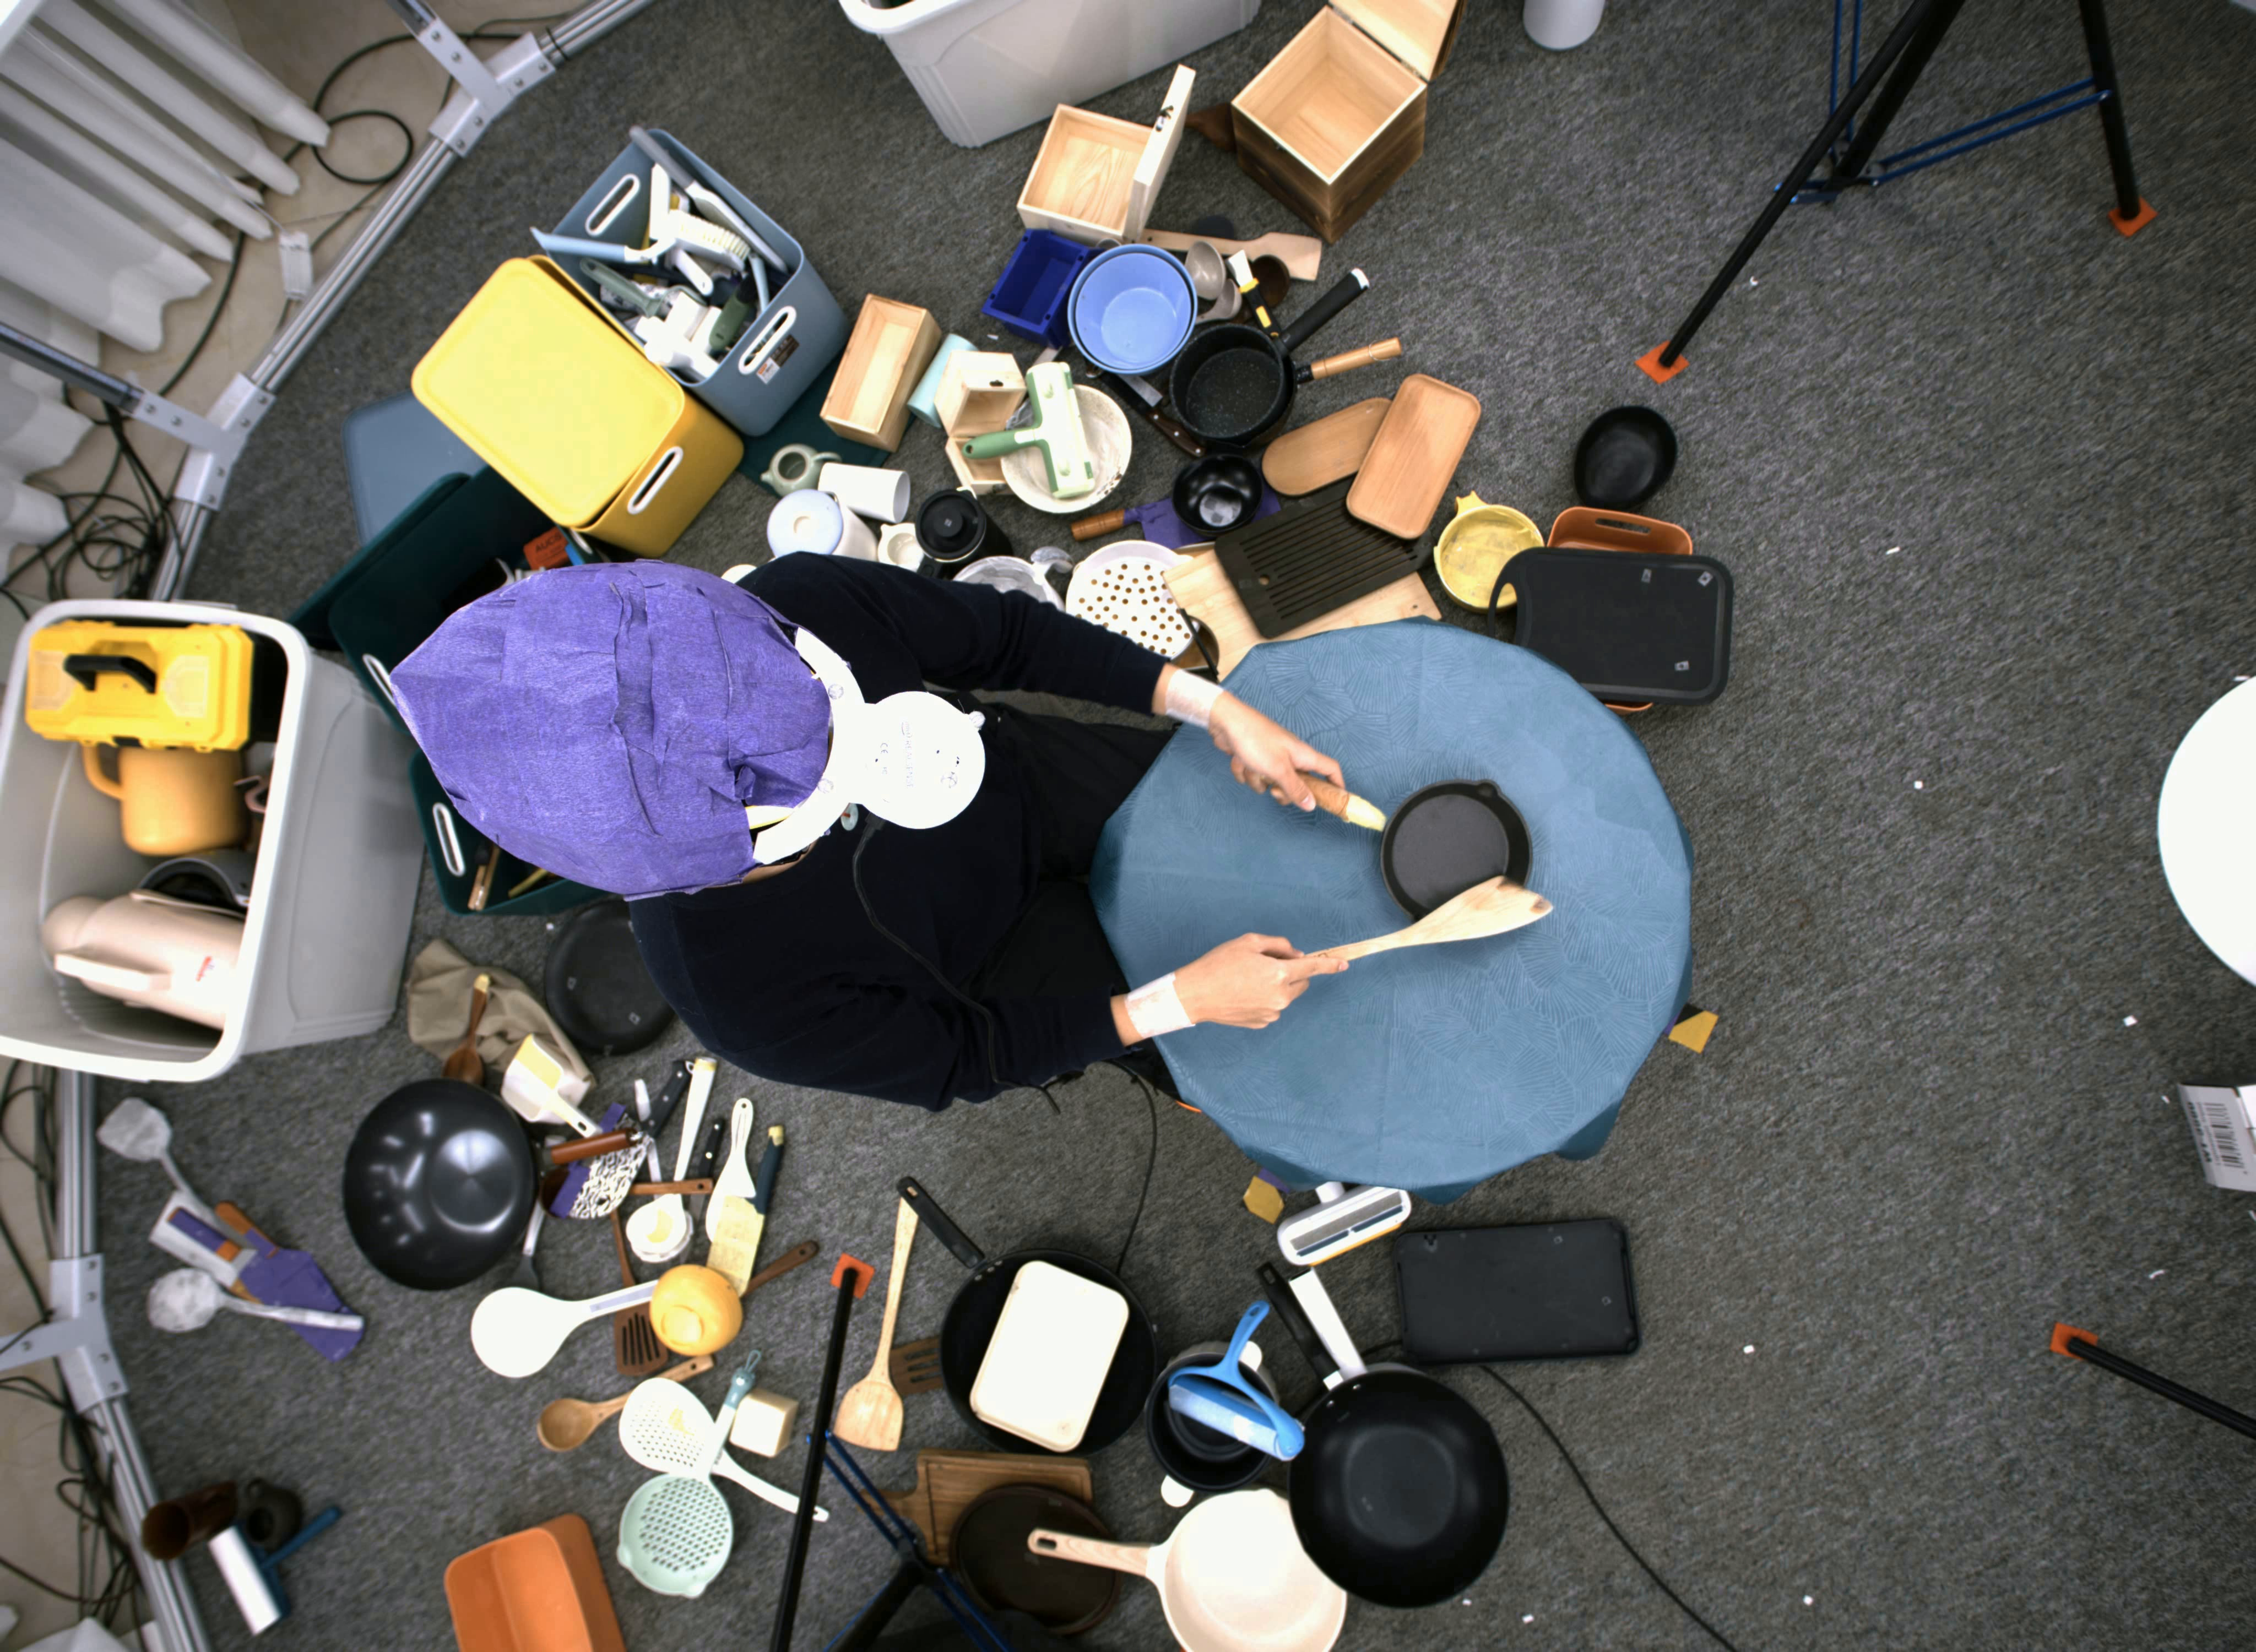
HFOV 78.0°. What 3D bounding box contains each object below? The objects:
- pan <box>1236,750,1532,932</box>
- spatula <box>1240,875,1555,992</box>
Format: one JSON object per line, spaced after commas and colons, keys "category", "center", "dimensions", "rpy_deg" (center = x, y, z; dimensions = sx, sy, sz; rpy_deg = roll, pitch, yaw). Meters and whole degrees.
{"category": "pan", "center": [0.258, -0.007, 1.406], "dimensions": [0.324, 0.049, 0.170], "rpy_deg": [25, 98, -4]}
{"category": "spatula", "center": [0.263, 0.108, 1.372], "dimensions": [0.326, 0.078, 0.017], "rpy_deg": [-15, 125, -11]}
